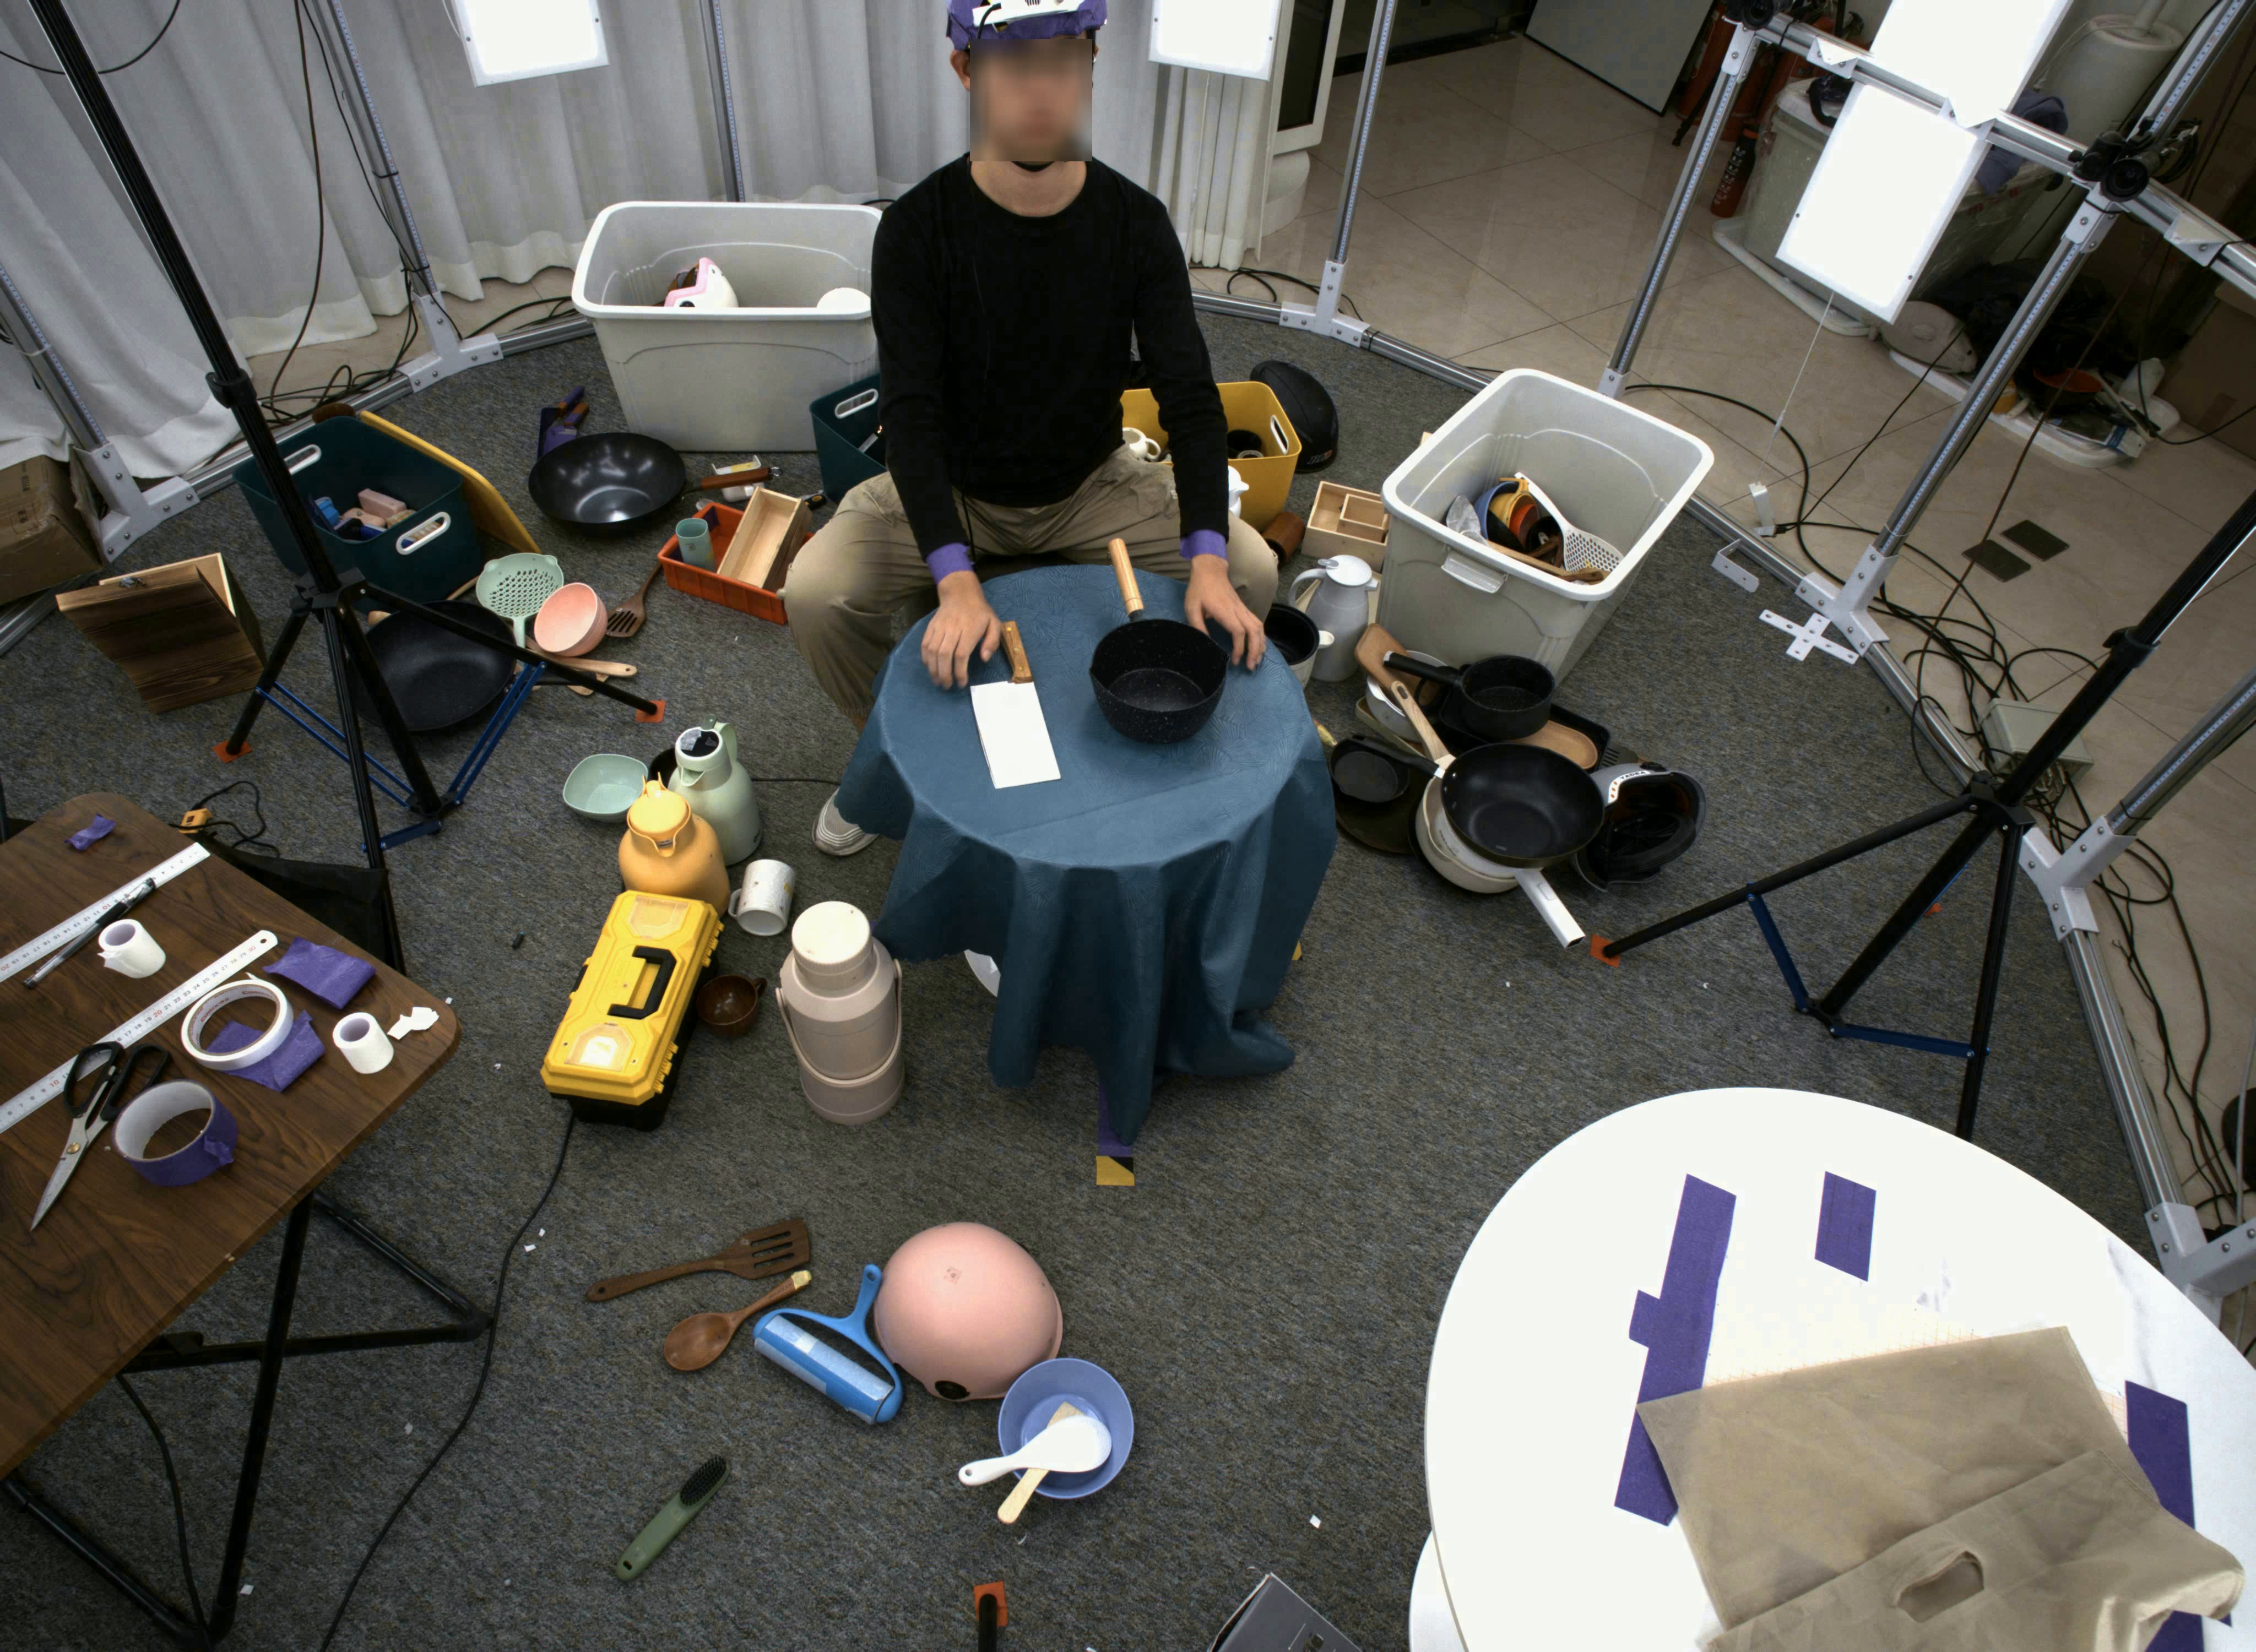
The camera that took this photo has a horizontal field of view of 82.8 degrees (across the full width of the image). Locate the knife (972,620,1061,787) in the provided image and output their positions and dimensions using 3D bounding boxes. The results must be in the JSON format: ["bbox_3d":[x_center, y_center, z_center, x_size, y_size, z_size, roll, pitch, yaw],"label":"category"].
[{"bbox_3d":[-0.168,-0.175,1.801,0.093,0.020,0.313,-9,53,-10],"label":"knife"}]

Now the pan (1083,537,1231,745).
[{"bbox_3d":[0.020,-0.264,1.831,0.207,0.105,0.351,-10,52,-12],"label":"pan"}]
